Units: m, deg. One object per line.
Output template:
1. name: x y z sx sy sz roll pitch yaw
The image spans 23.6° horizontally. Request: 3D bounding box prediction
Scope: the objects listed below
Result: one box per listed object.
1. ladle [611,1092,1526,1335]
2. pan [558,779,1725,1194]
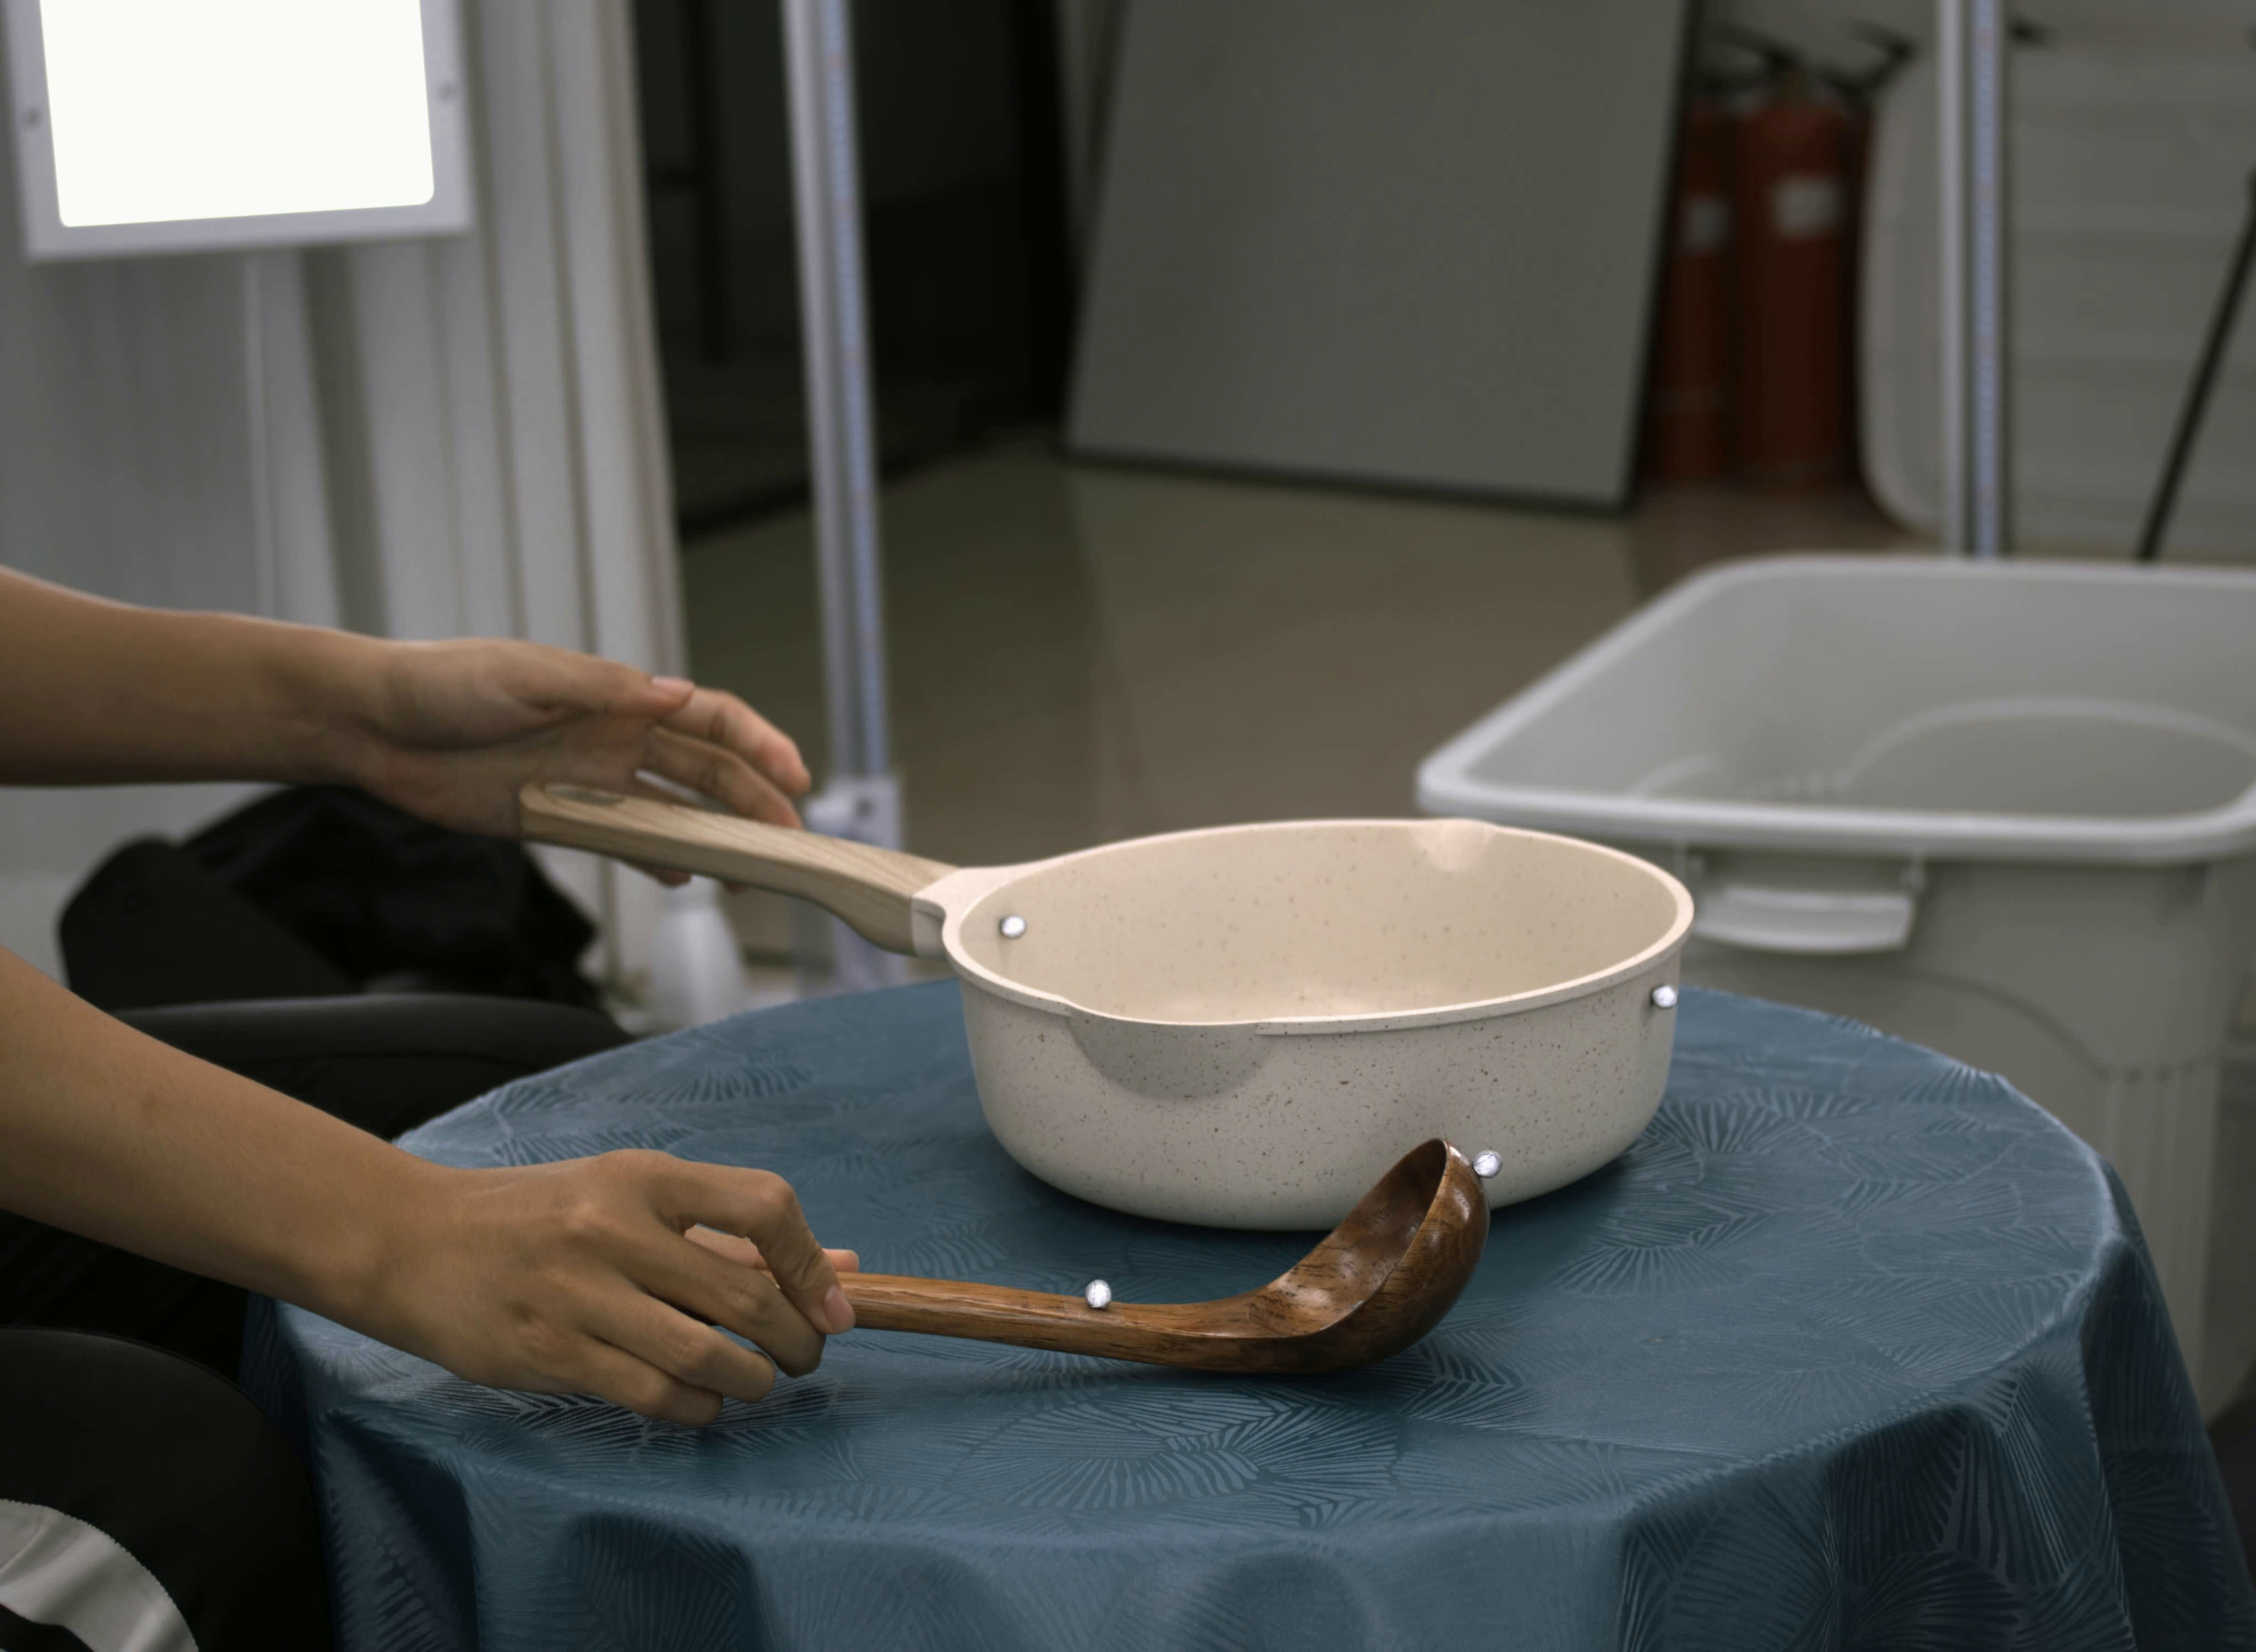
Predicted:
1. ladle: -0.018 0.108 1.602 0.271 0.077 0.082 4 10 3
2. pan: -0.004 0.044 1.857 0.436 0.103 0.260 3 16 27
